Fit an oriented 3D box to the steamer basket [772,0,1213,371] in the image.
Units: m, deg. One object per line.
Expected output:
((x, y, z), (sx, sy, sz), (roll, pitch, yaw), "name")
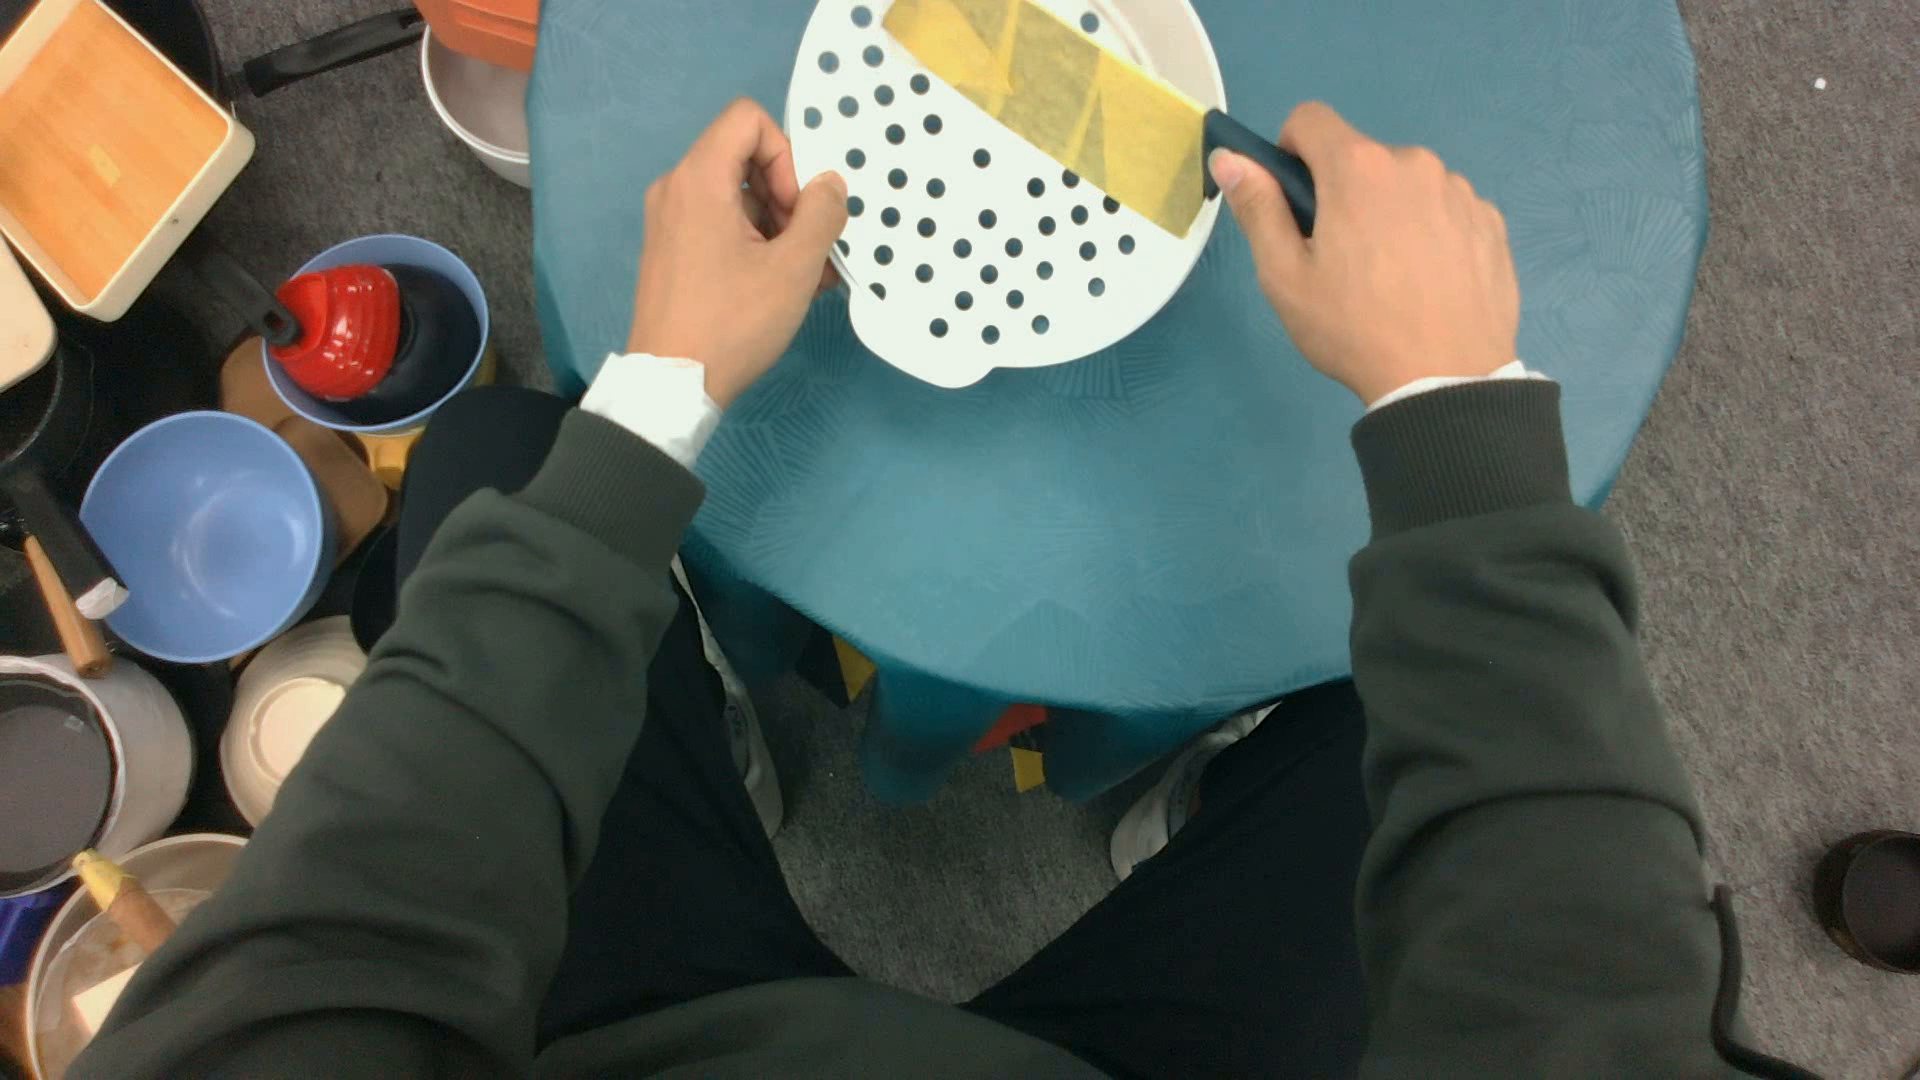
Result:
((0.013, -0.189, 0.637), (0.202, 0.069, 0.230), (27, 89, -16), "steamer basket")

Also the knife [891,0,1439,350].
((0.078, -0.166, 0.597), (0.289, 0.081, 0.027), (38, 69, 12), "knife")
